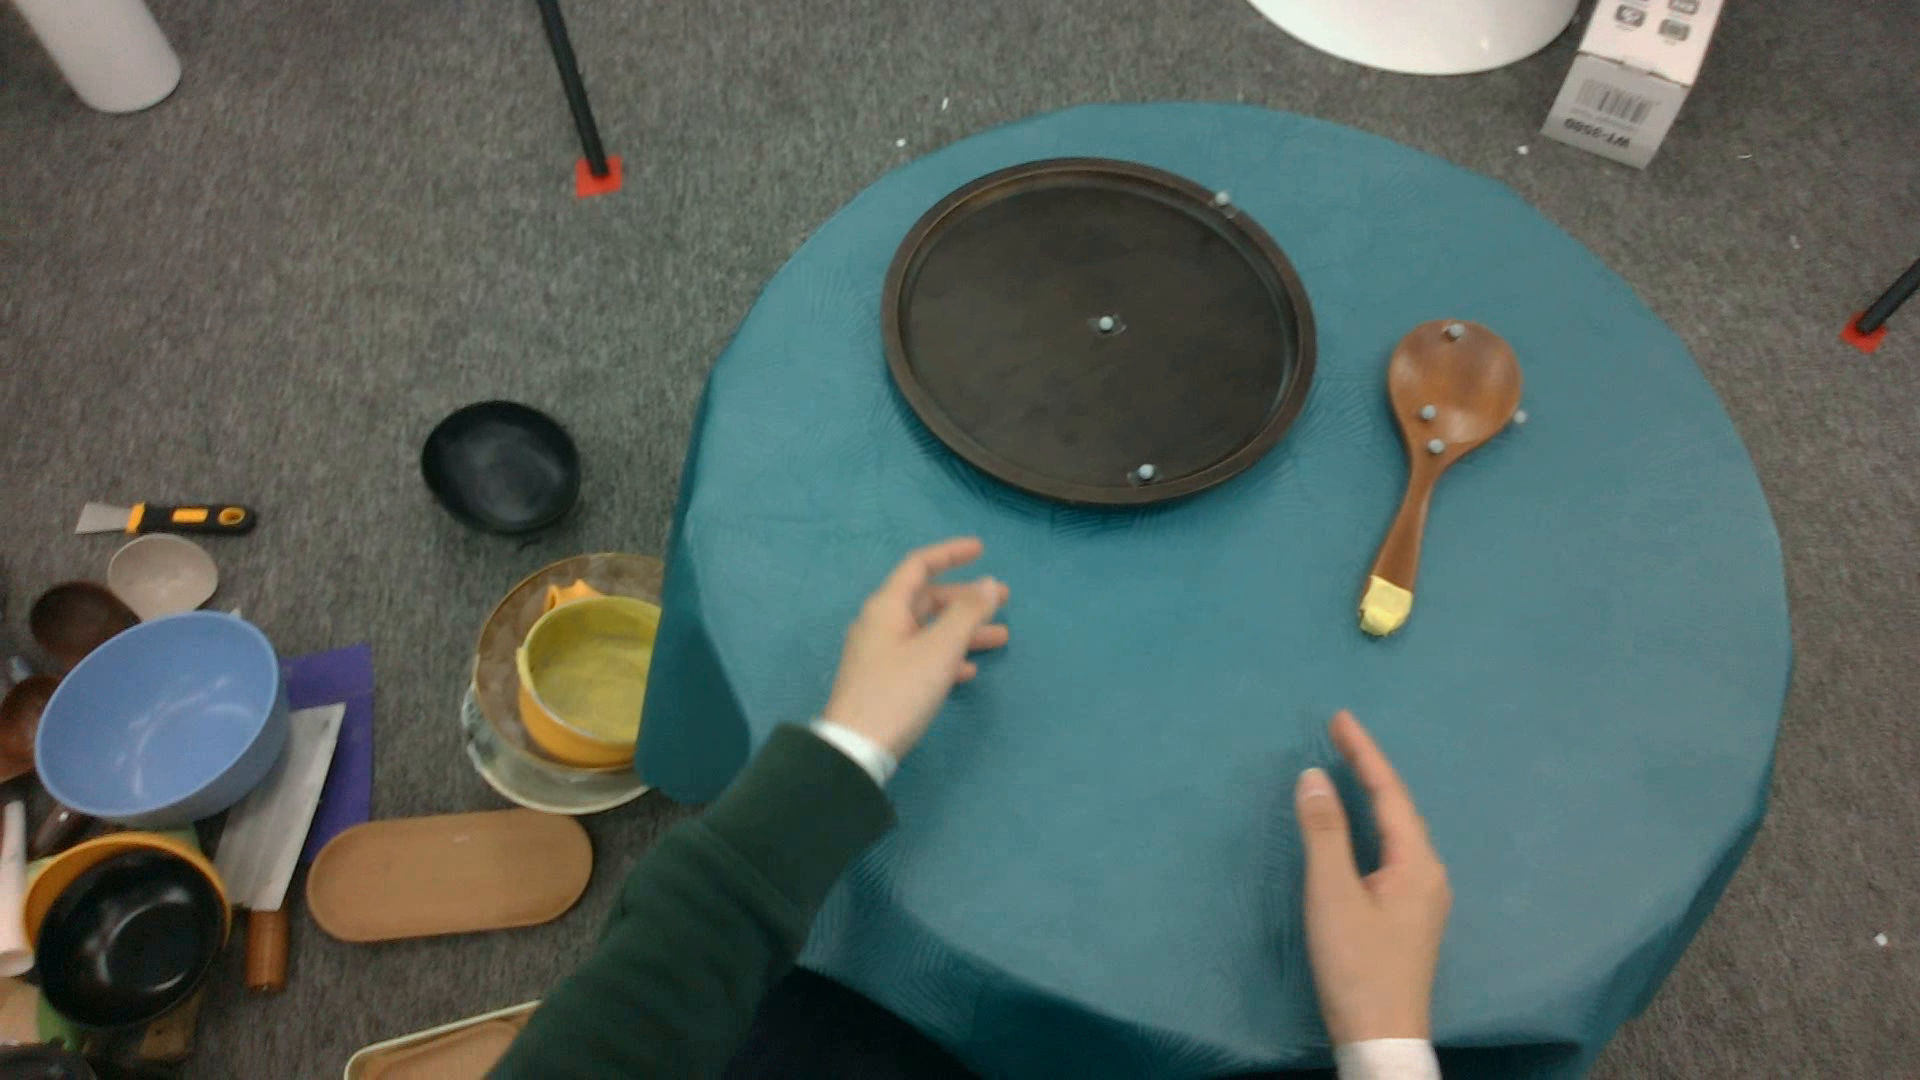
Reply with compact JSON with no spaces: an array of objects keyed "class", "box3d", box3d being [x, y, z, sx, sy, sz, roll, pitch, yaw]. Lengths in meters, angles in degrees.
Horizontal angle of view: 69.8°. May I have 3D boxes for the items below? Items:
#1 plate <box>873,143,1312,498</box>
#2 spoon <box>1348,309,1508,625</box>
[{"class":"plate","box3d":[0.076,-0.132,0.799,0.255,0.029,0.256,1,59,-2]},{"class":"spoon","box3d":[0.252,-0.044,0.763,0.075,0.017,0.217,21,61,8]}]
